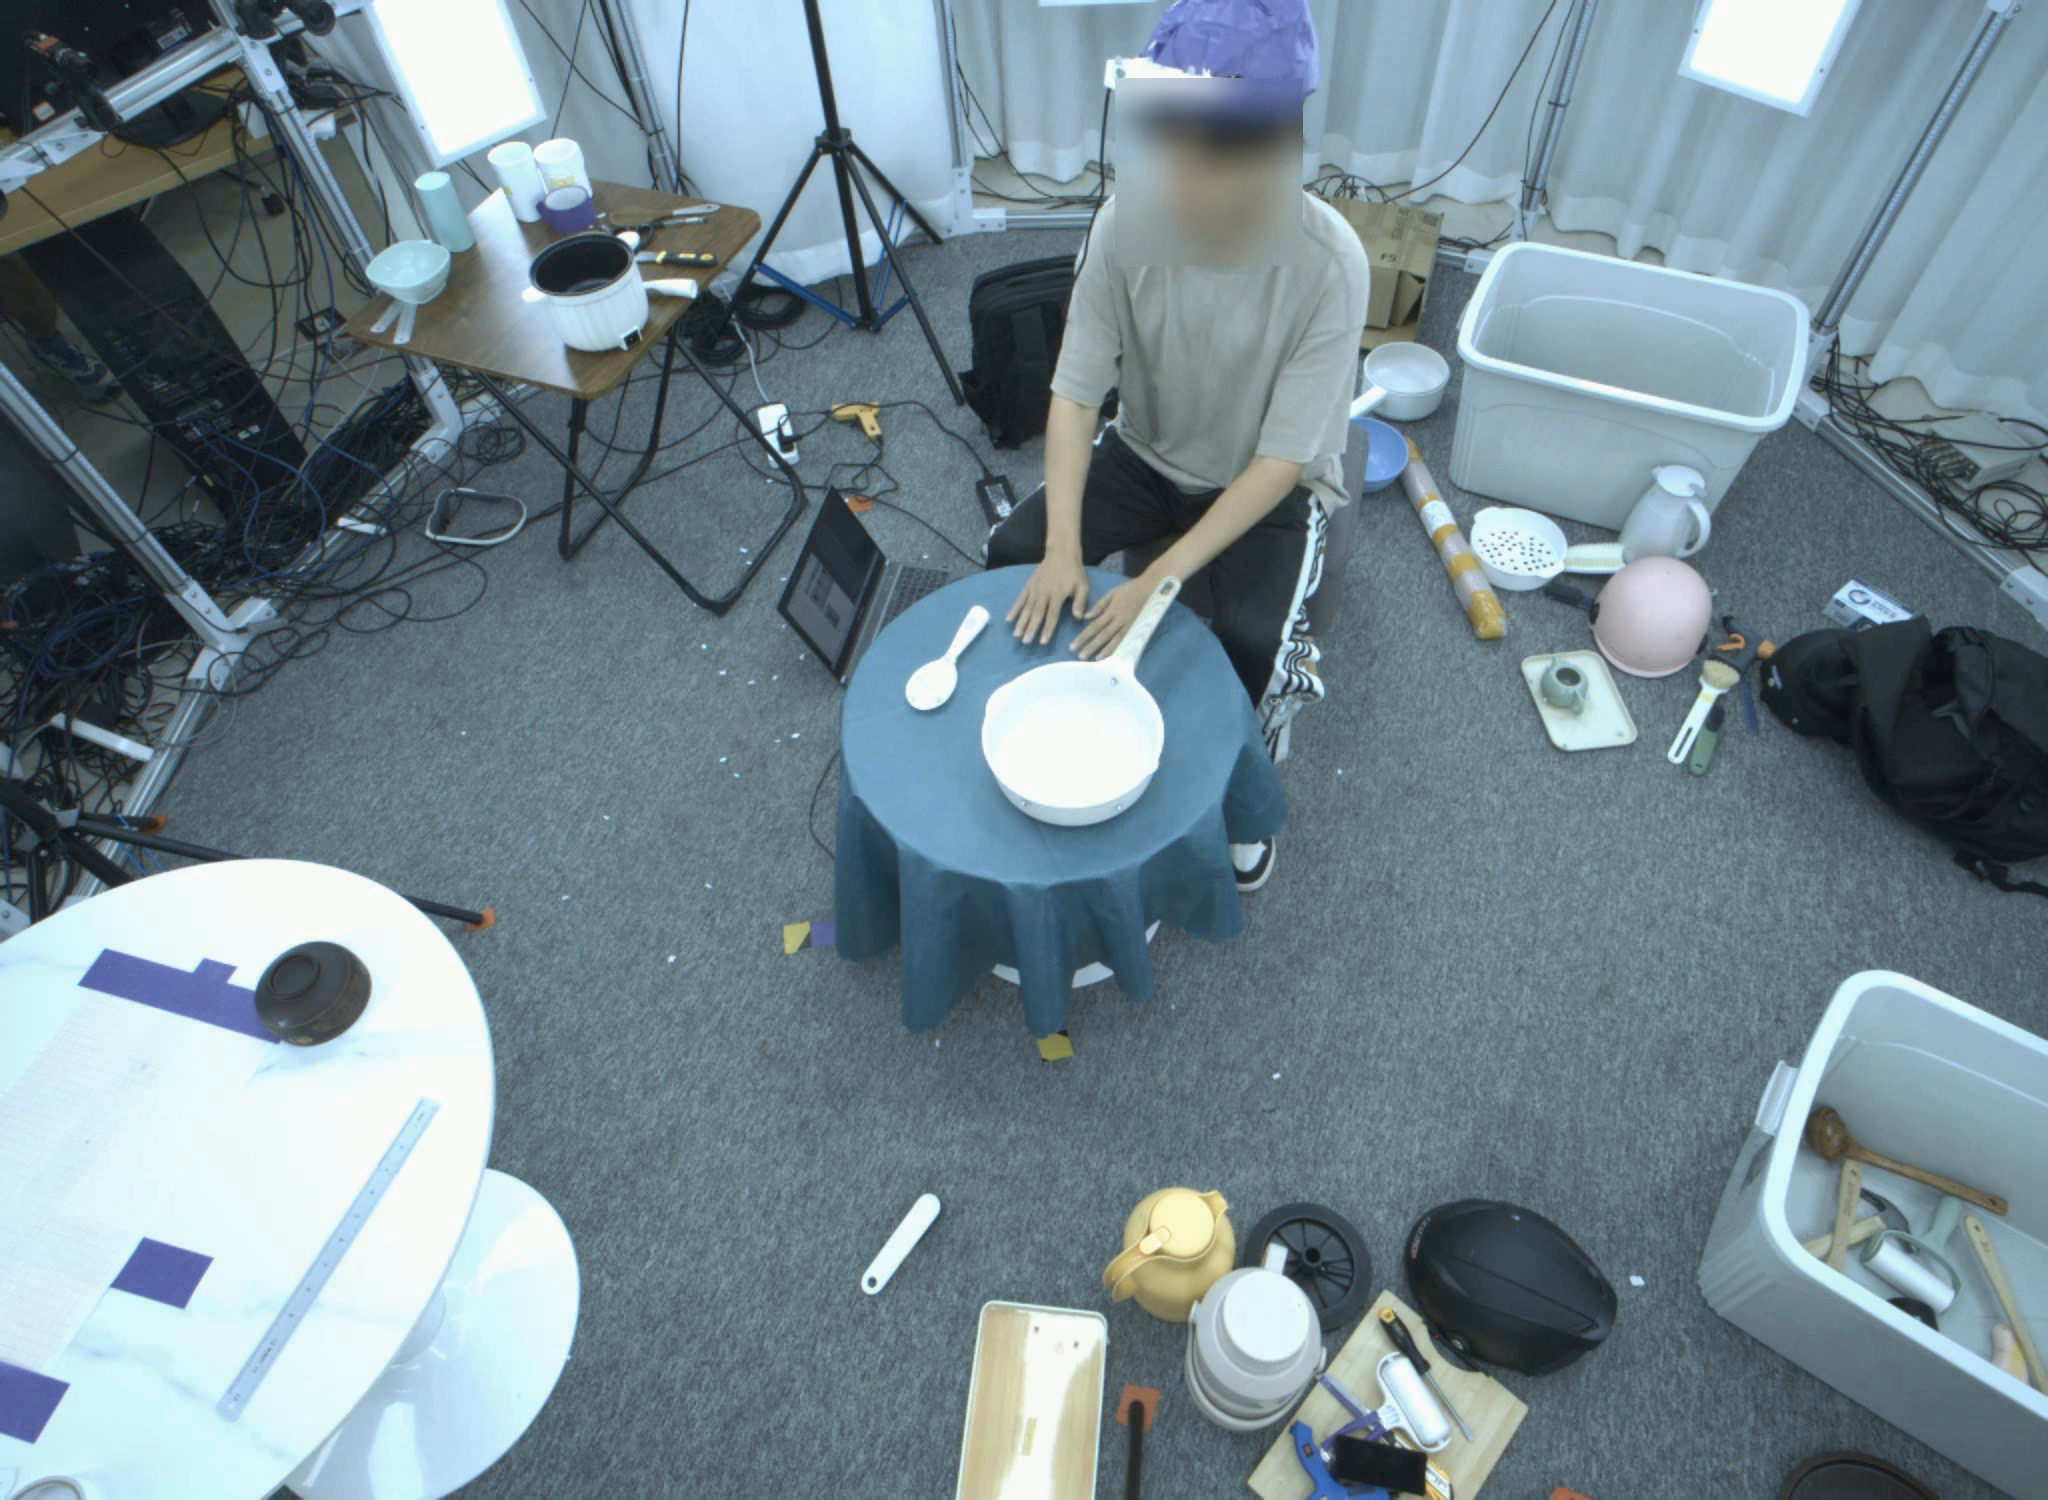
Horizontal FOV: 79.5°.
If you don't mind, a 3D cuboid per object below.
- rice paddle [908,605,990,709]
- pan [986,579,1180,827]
[{"bbox_3d":[-0.111,-0.141,1.870,0.068,0.030,0.205,21,58,15],"label":"rice paddle"},{"bbox_3d":[0.121,-0.070,1.772,0.259,0.103,0.436,23,59,21],"label":"pan"}]
